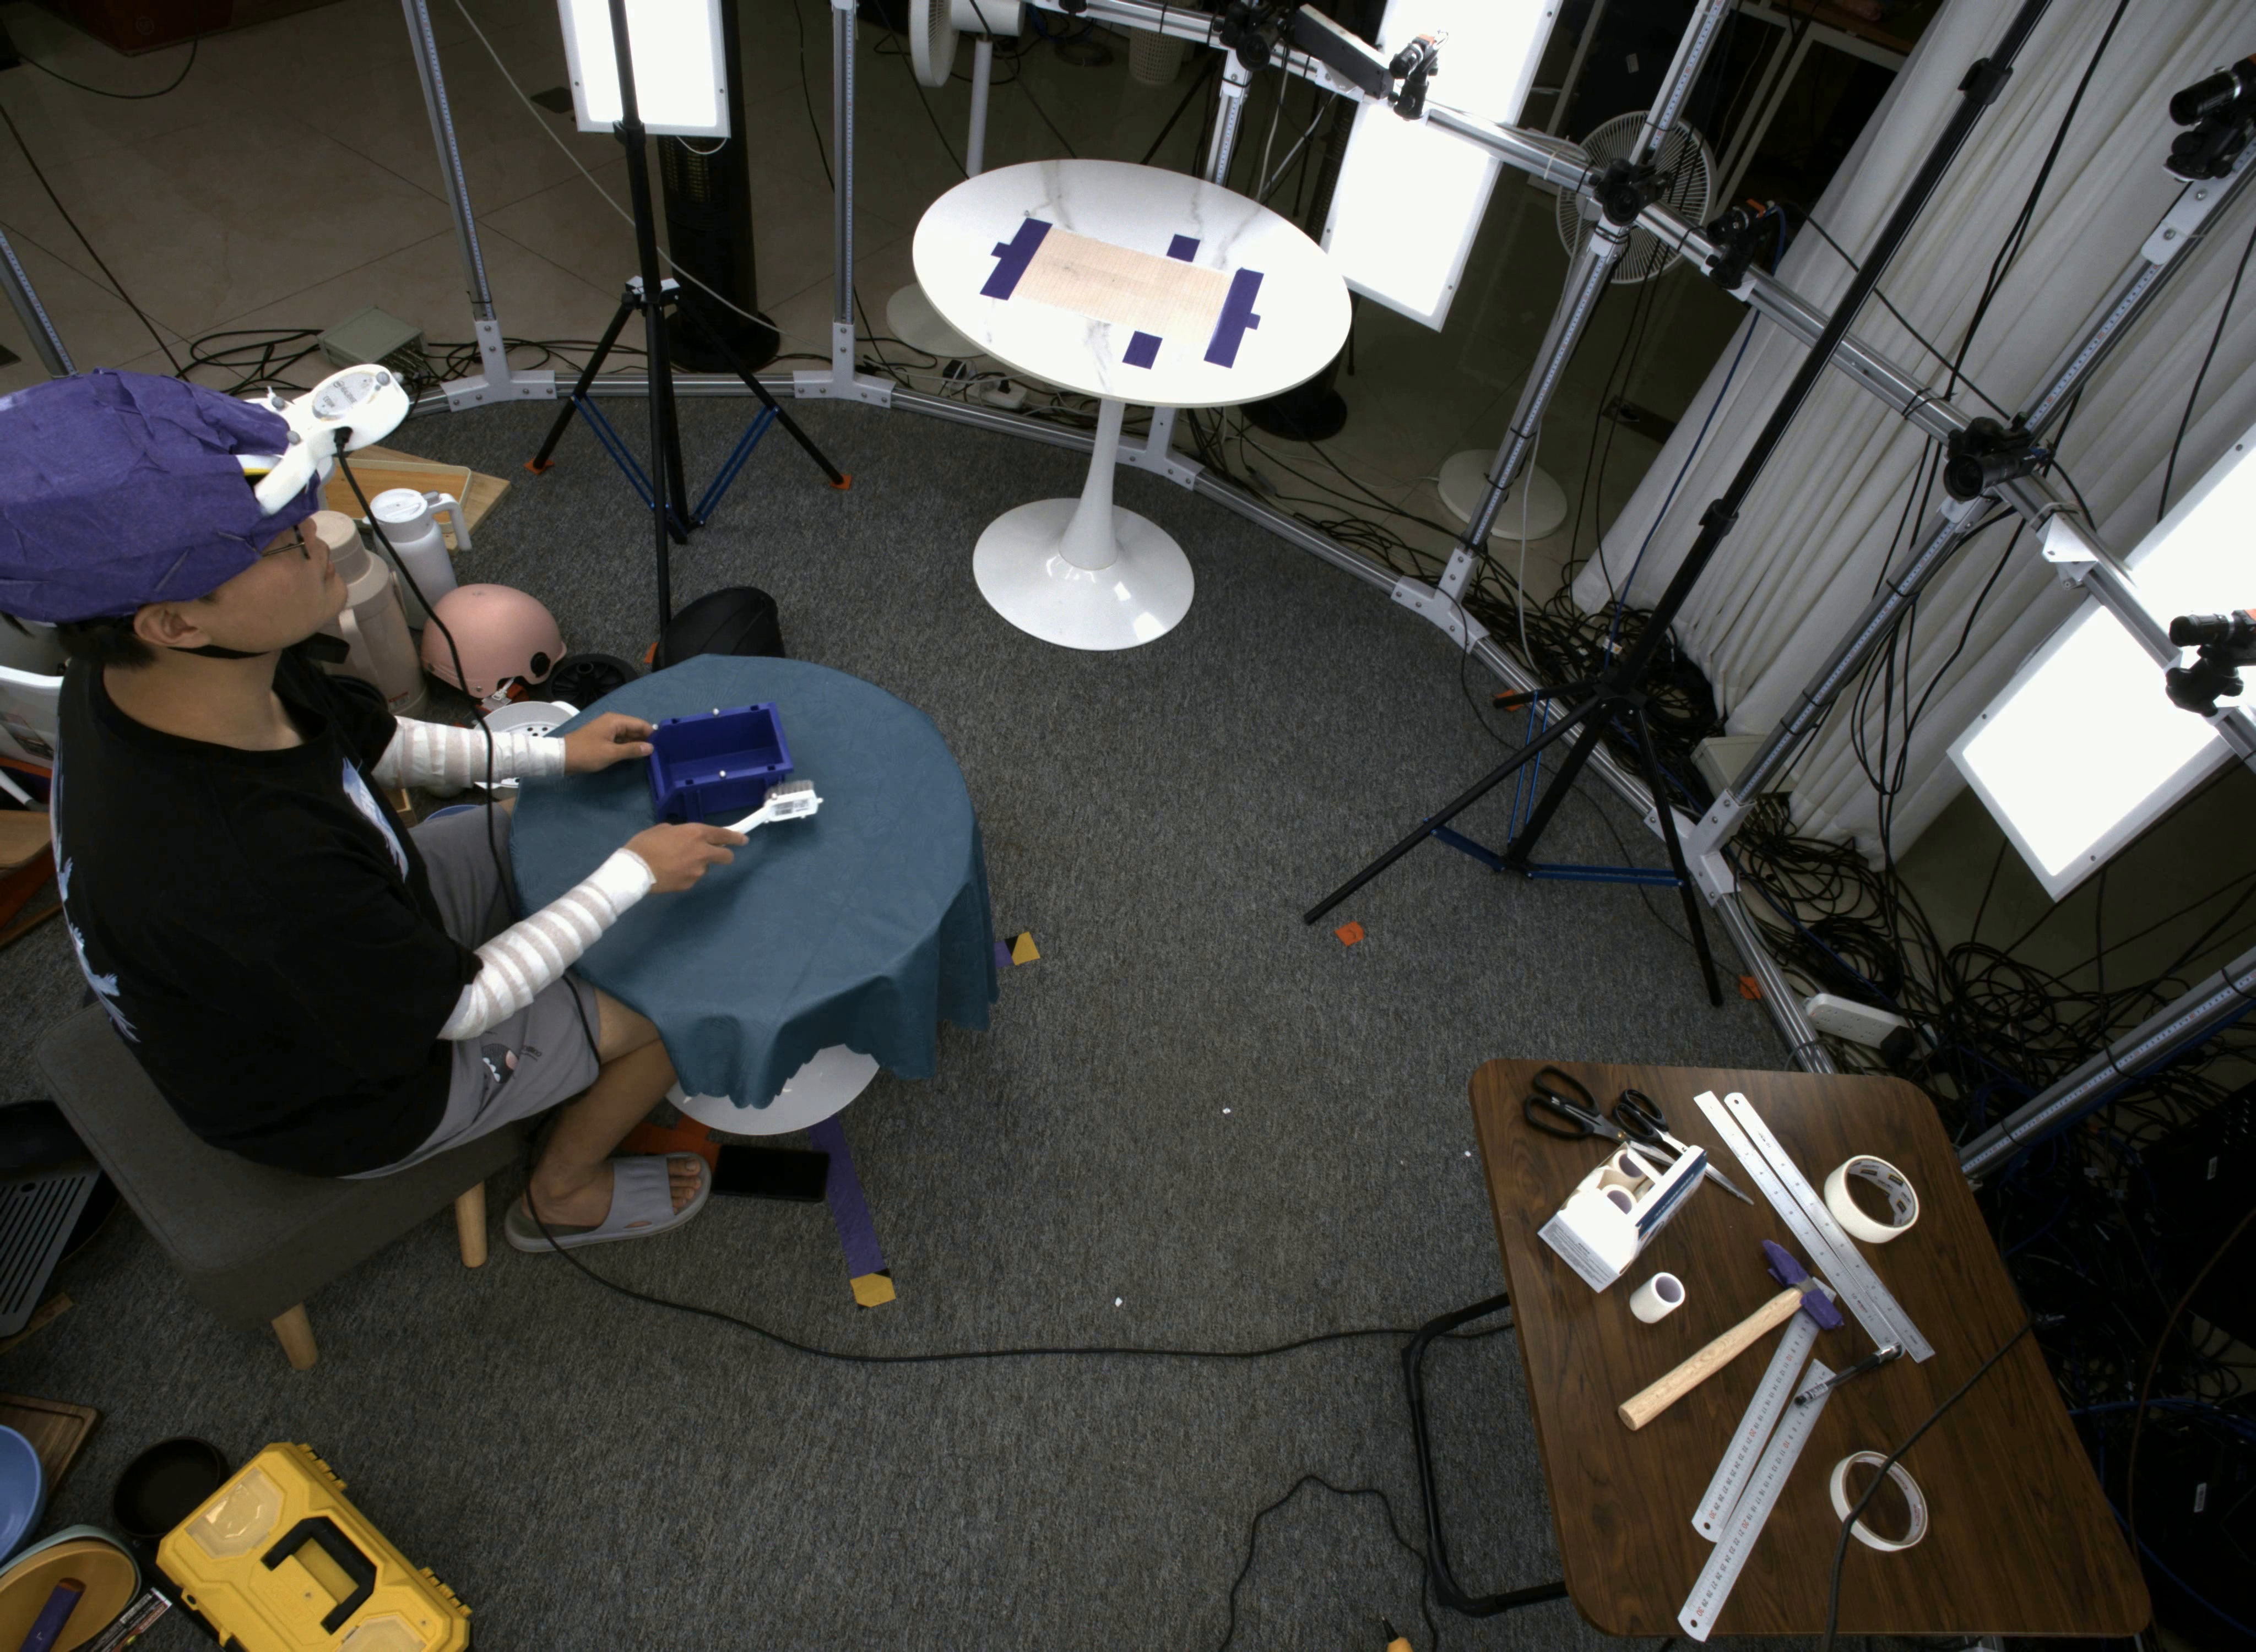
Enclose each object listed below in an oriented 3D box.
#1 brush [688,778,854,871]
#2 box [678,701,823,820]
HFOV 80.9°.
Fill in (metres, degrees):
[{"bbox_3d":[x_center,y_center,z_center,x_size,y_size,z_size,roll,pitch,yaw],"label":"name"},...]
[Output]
[{"bbox_3d":[-0.460,-0.007,1.663,0.245,0.035,0.048,-25,47,-33],"label":"brush"},{"bbox_3d":[-0.506,-0.085,1.725,0.180,0.083,0.121,-8,56,-20],"label":"box"}]
